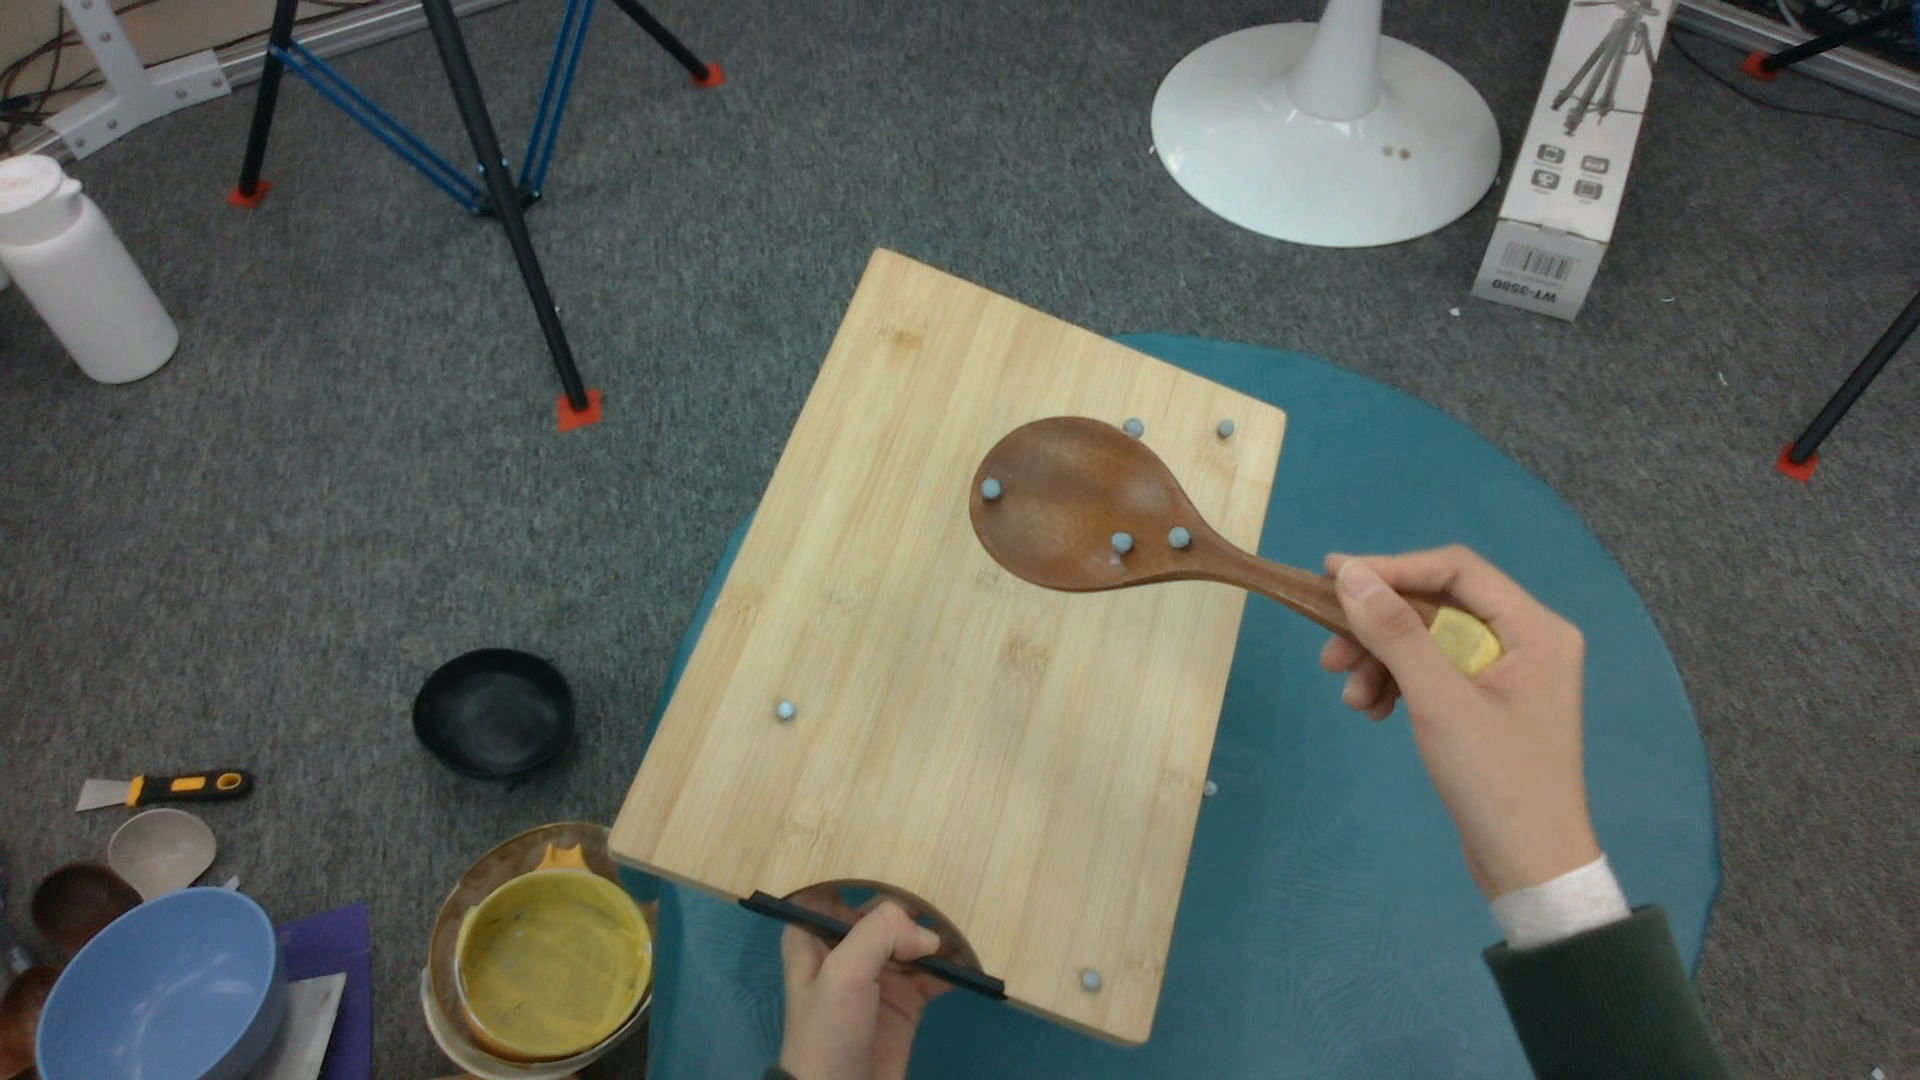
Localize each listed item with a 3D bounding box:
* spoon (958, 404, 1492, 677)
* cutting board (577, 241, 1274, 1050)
[{"bbox_3d":[0.092,0.002,0.520,0.216,0.017,0.075,23,73,30],"label":"spoon"},{"bbox_3d":[0.006,0.030,0.657,0.251,0.023,0.350,20,60,-4],"label":"cutting board"}]
